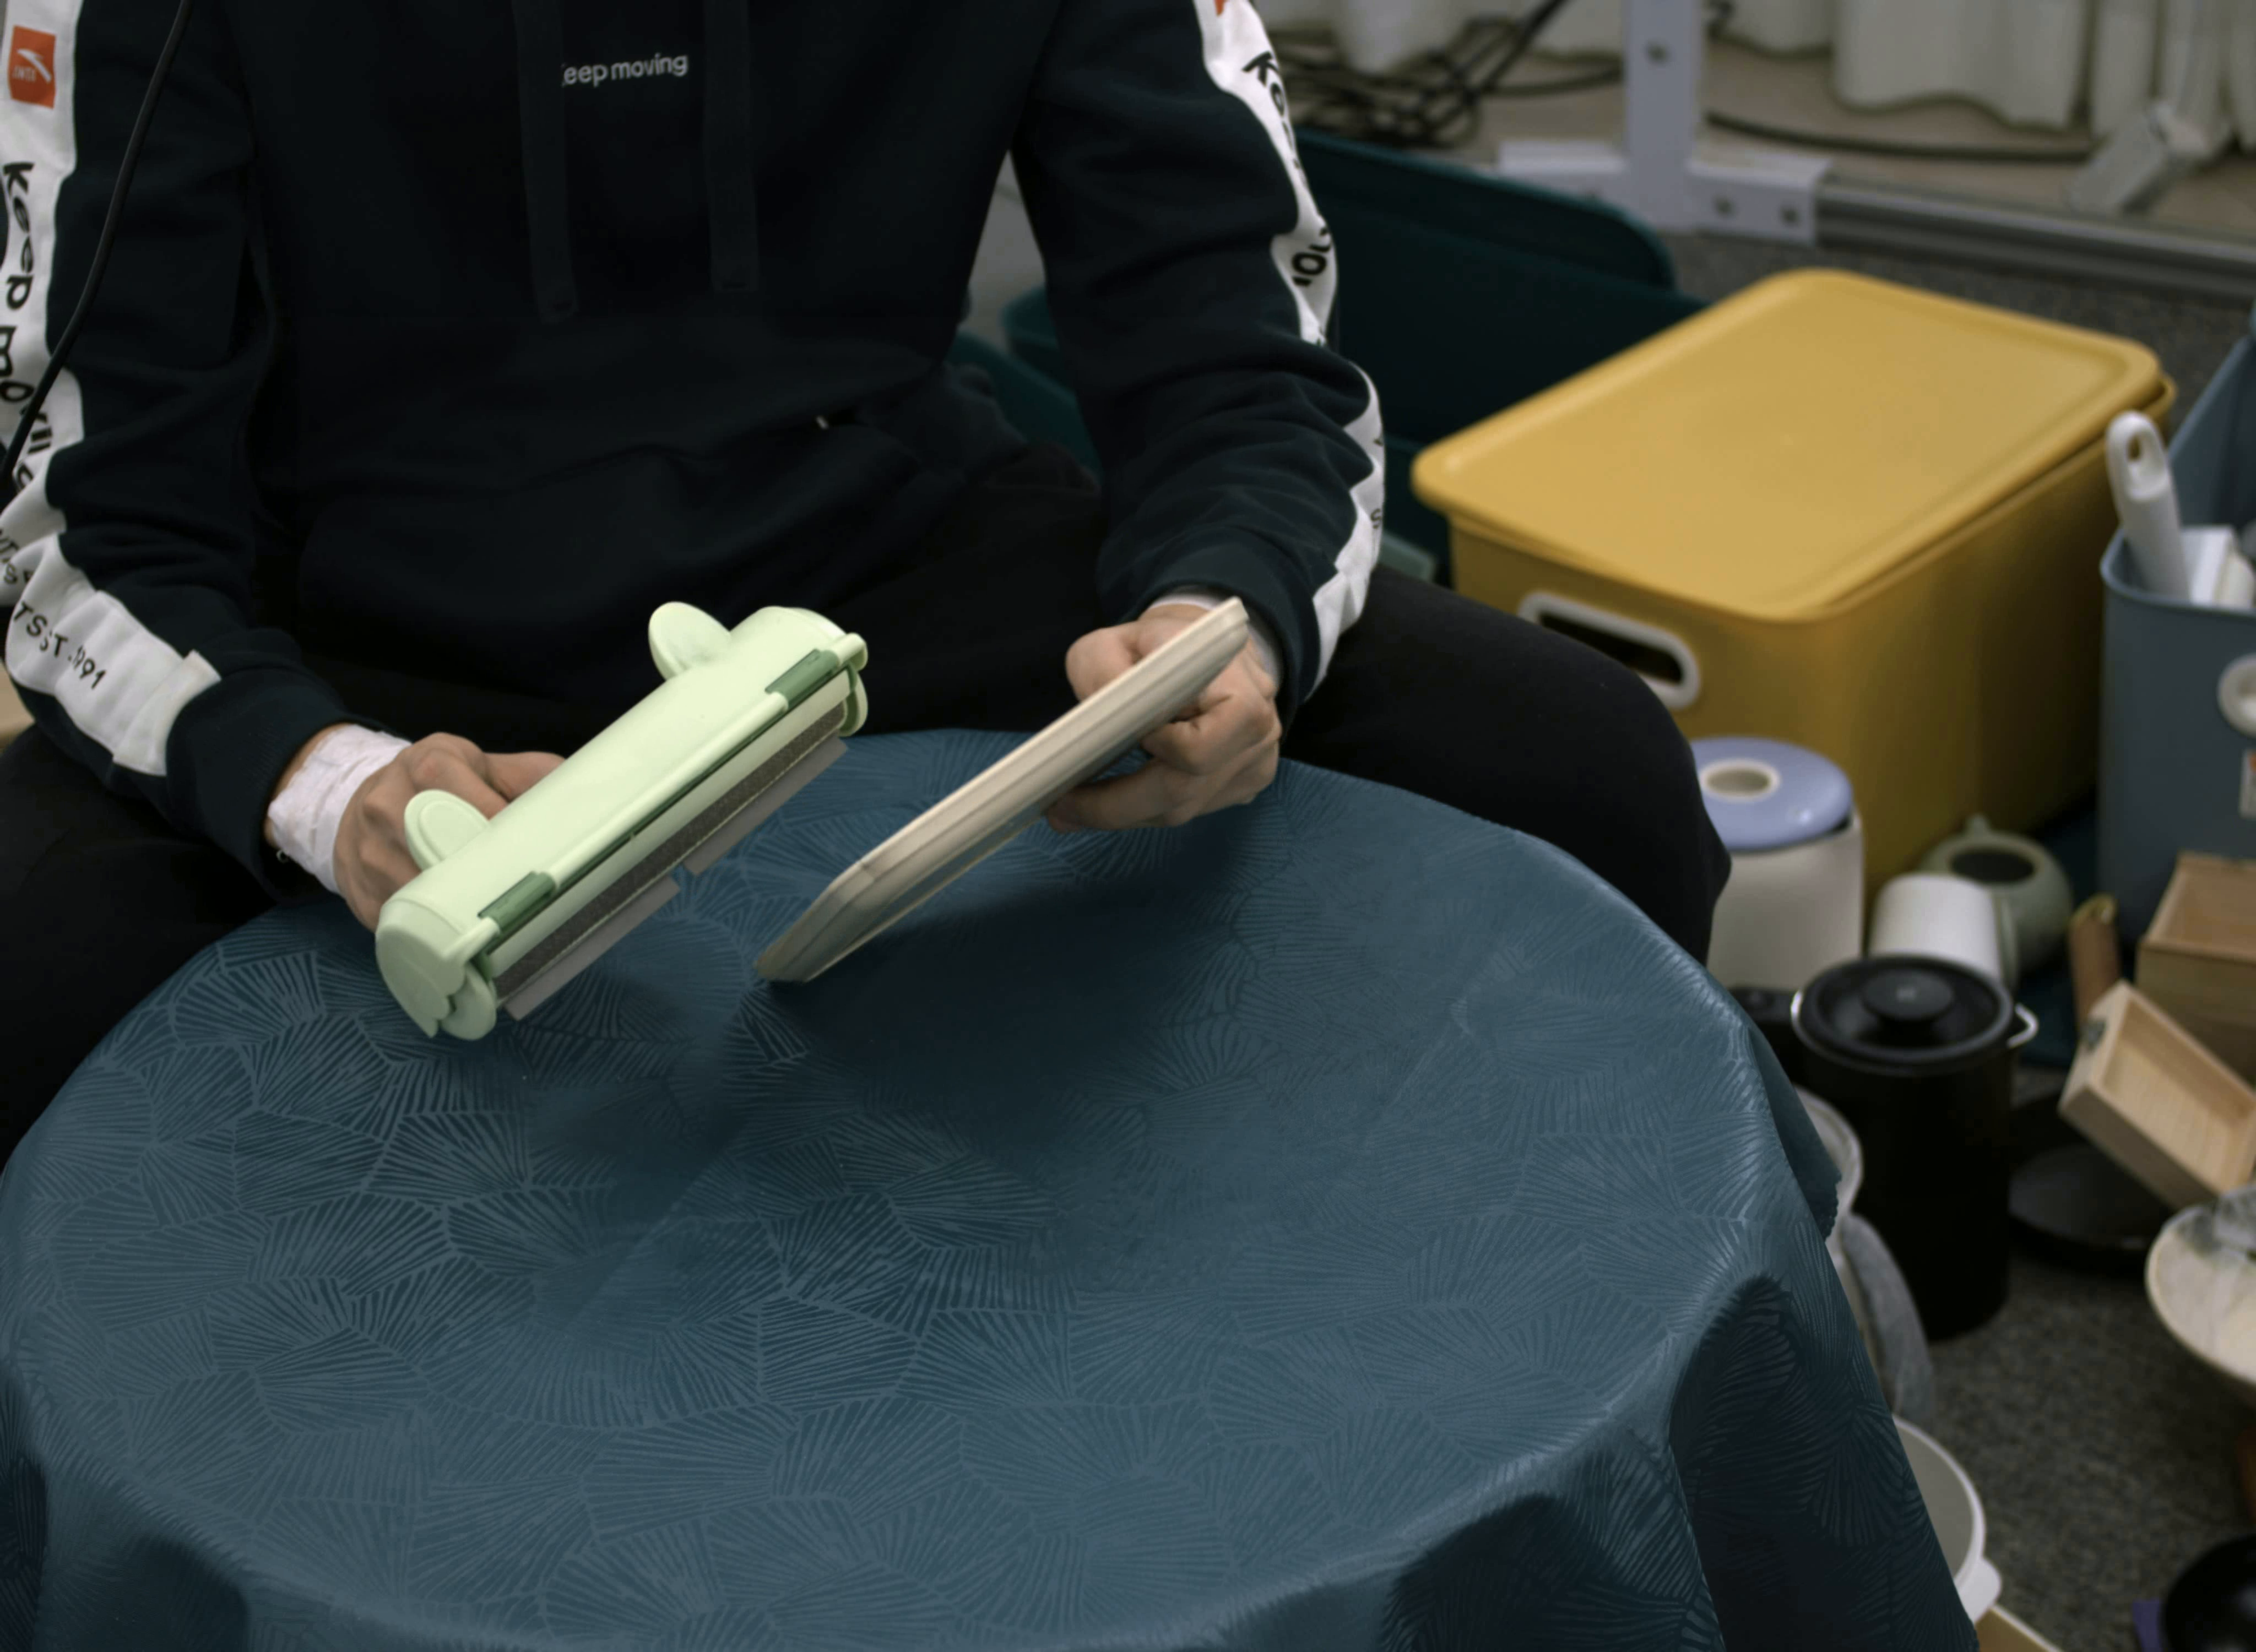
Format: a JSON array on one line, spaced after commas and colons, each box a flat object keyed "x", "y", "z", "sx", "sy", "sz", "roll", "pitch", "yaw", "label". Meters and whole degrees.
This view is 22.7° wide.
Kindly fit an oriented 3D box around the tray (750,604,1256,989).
[{"x": -0.043, "y": -0.005, "z": 1.915, "sx": 0.172, "sy": 0.017, "sz": 0.237, "roll": -34, "pitch": -1, "yaw": -16, "label": "tray"}]

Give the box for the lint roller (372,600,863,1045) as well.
[{"x": -0.204, "y": -0.007, "z": 1.910, "sx": 0.201, "sy": 0.082, "sz": 0.181, "roll": -41, "pitch": 23, "yaw": -32, "label": "lint roller"}]
